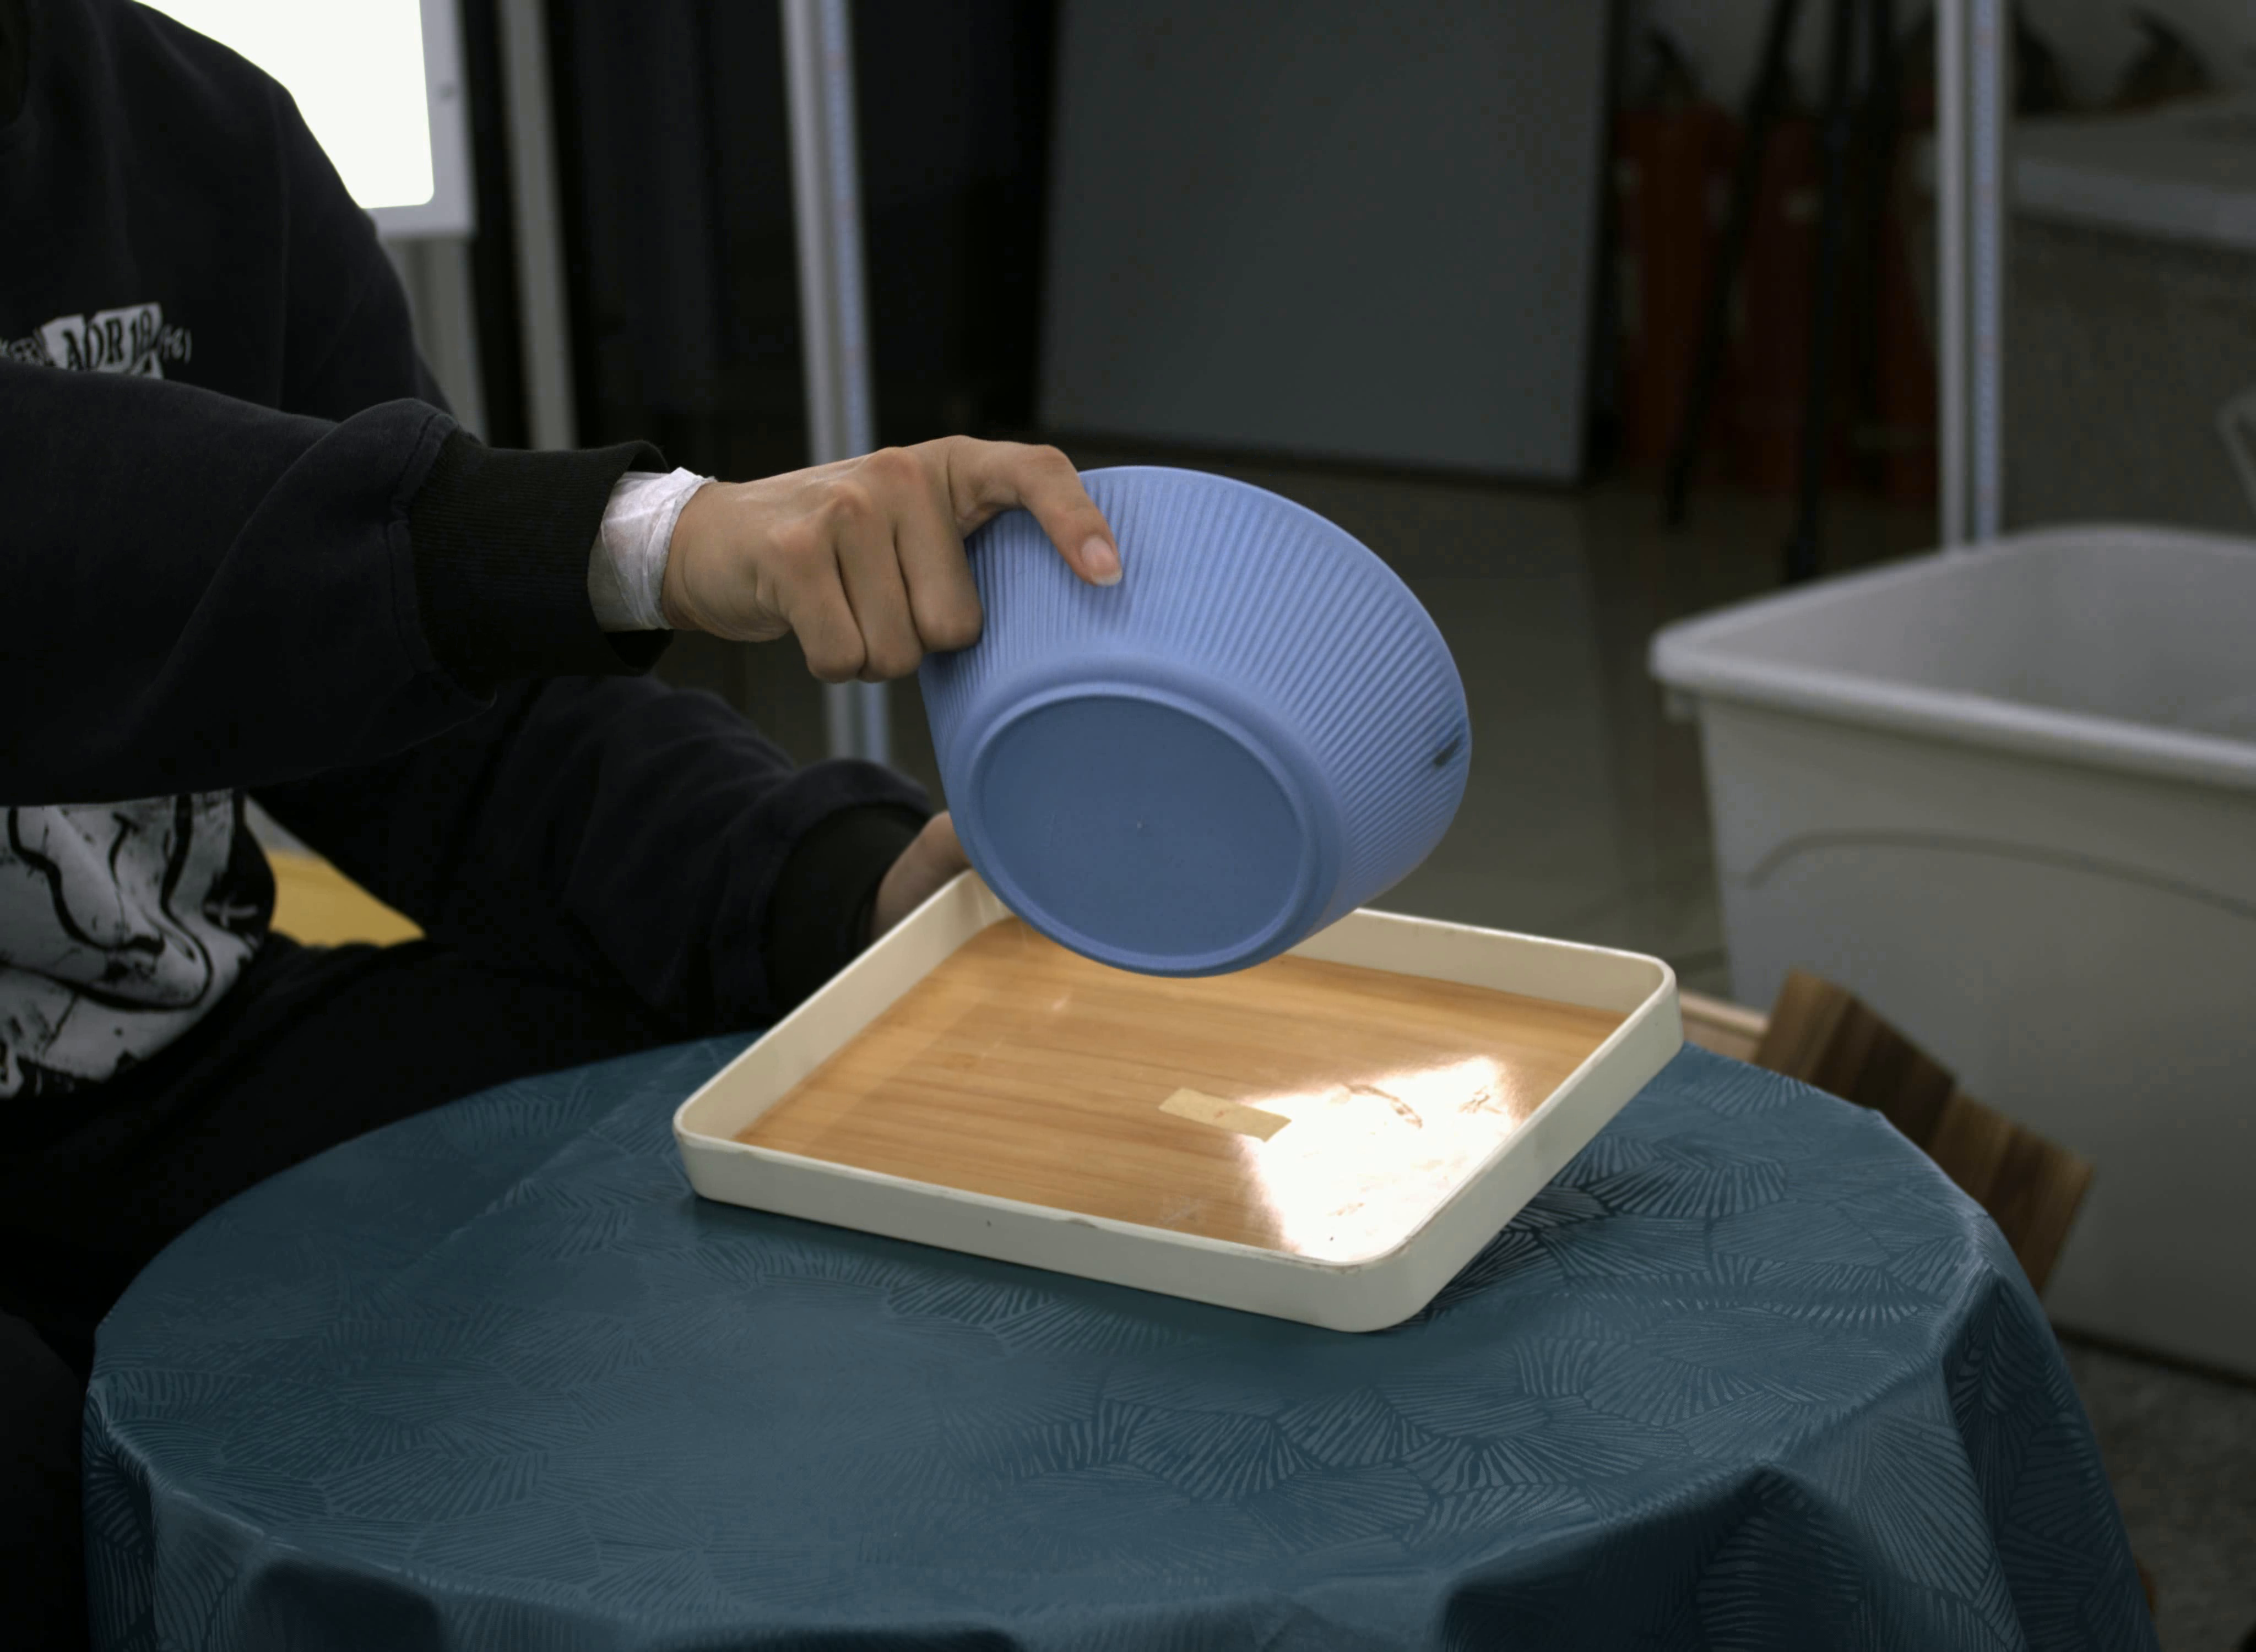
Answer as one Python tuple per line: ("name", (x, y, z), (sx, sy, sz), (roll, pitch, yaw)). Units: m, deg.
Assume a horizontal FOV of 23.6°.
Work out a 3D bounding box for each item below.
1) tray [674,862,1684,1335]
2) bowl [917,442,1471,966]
("tray", (0.015, 0.084, 1.761), (0.302, 0.027, 0.189), (8, 35, 39))
("bowl", (0.012, -0.024, 1.620), (0.175, 0.176, 0.070), (1, 37, 18))
